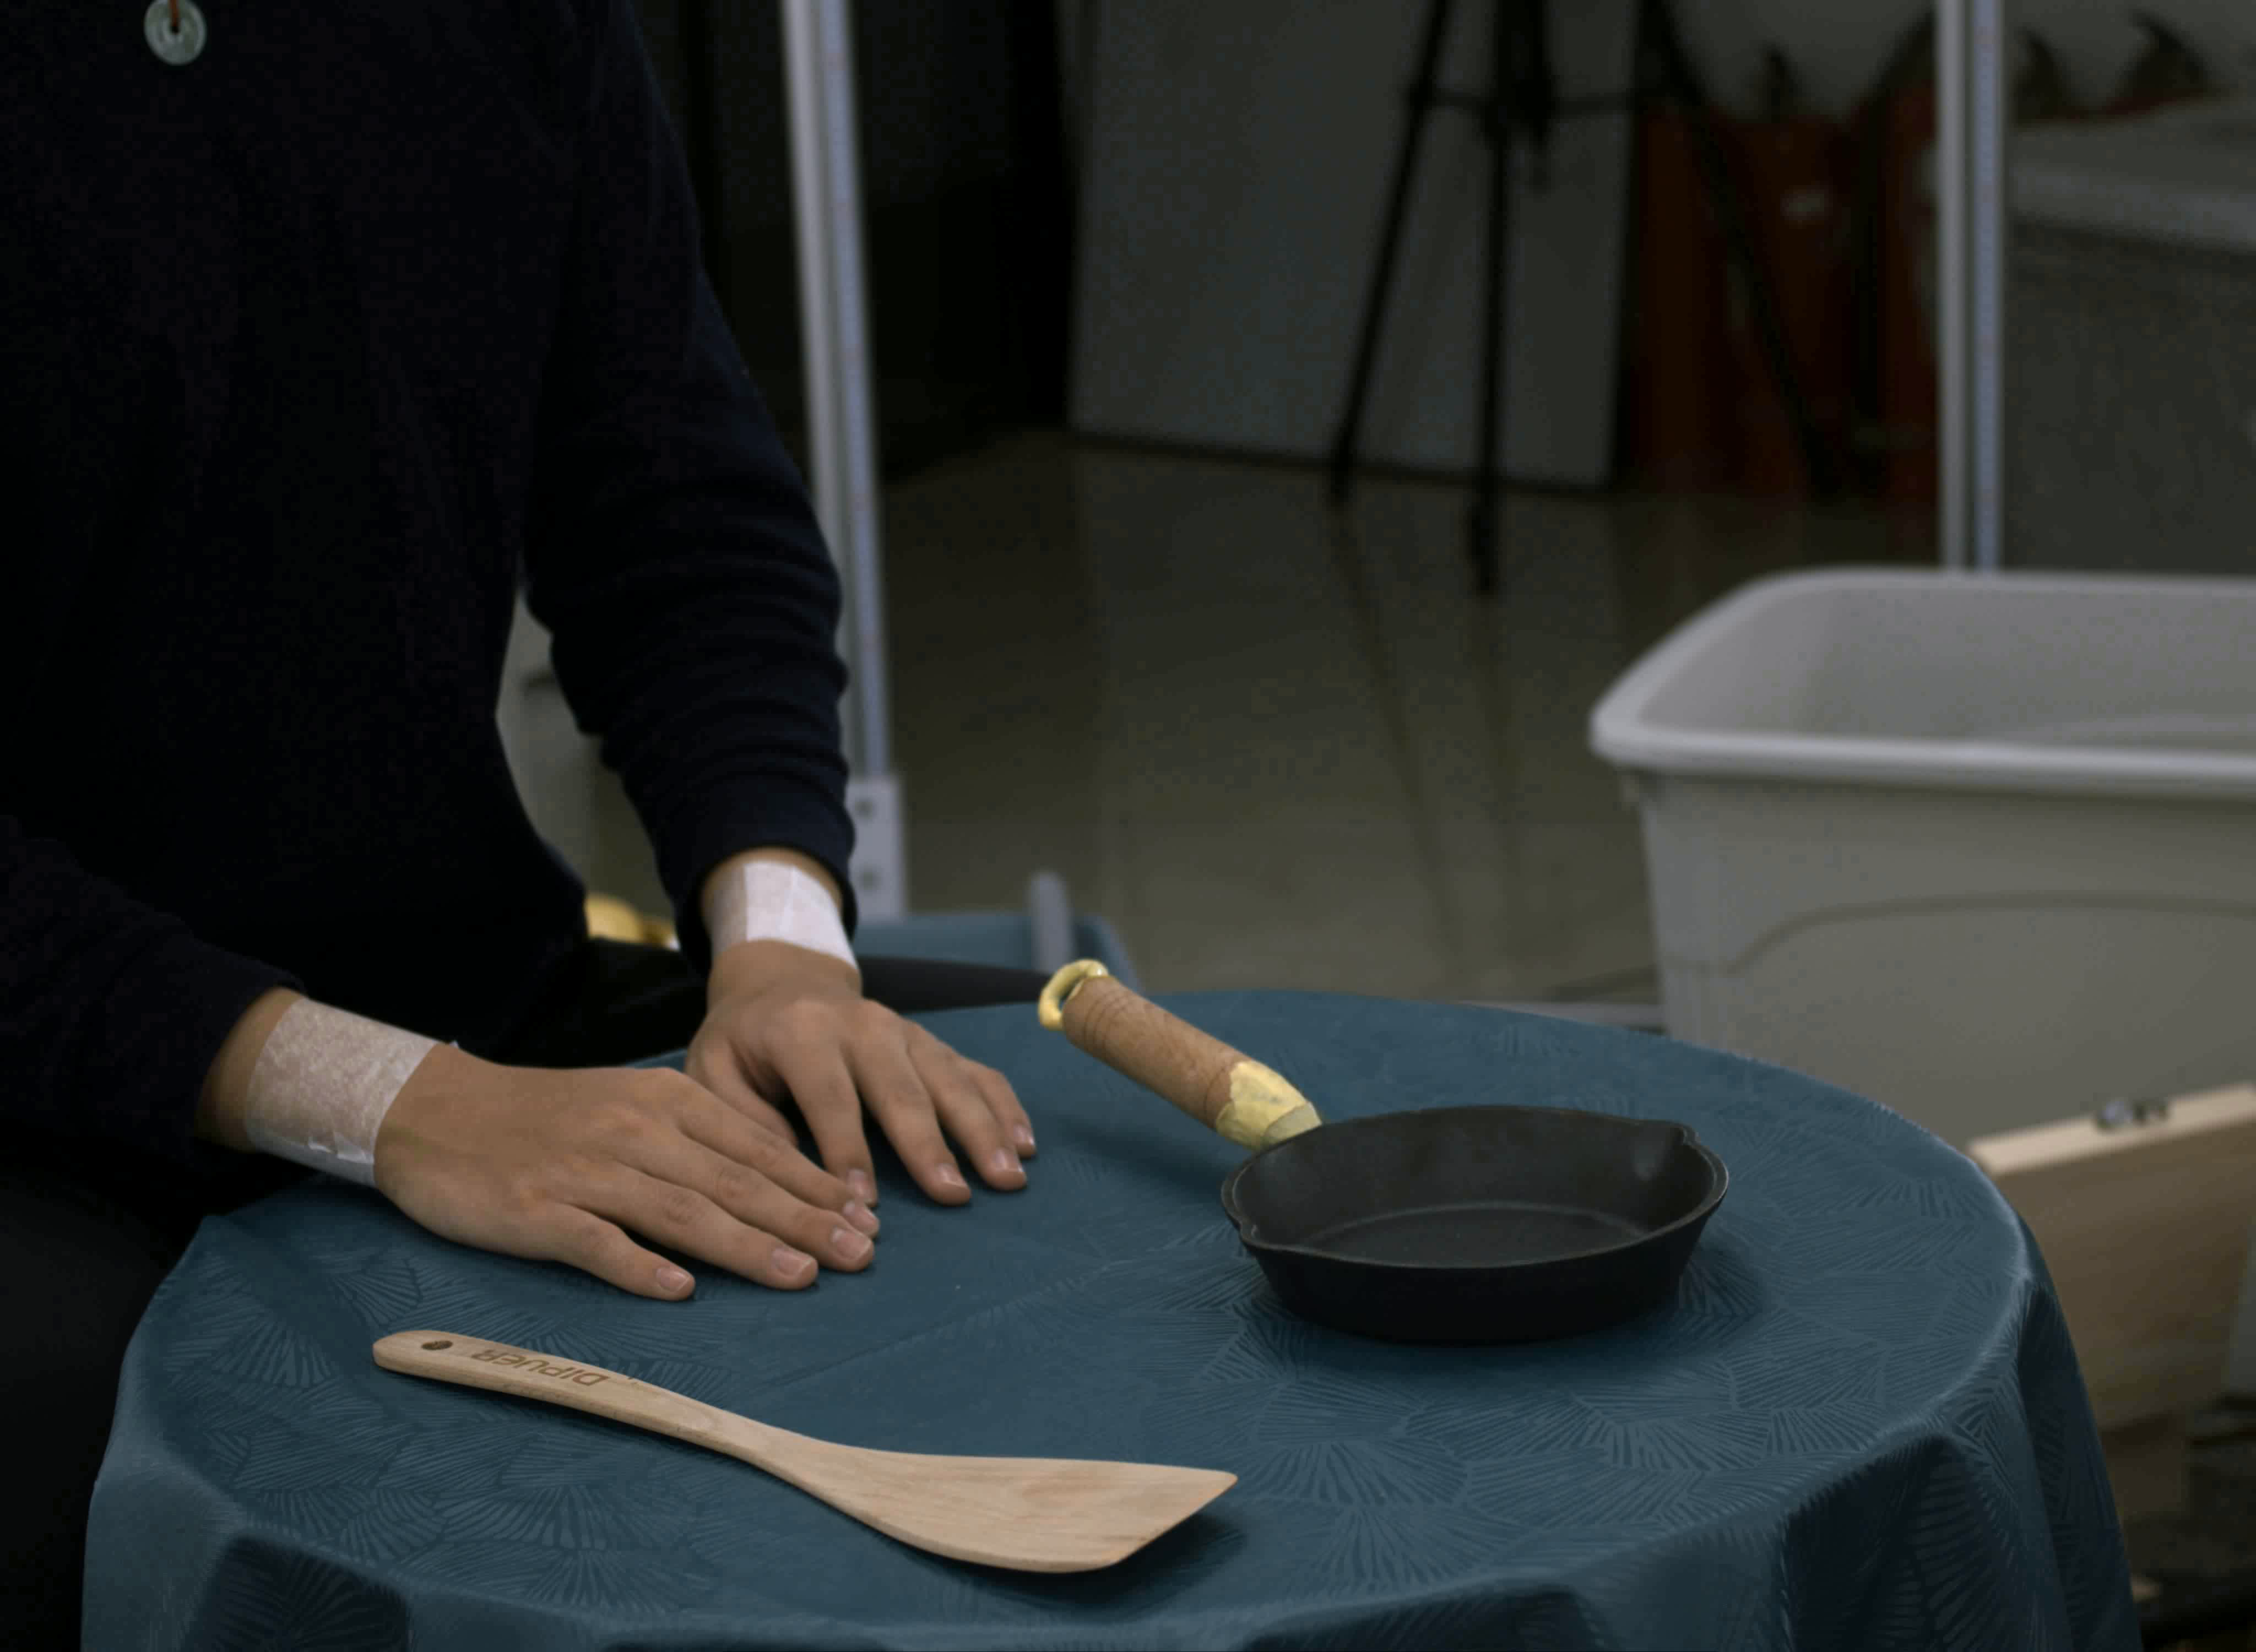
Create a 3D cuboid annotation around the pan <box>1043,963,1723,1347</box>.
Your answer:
[{"bbox_3d":[0.063,0.101,1.729,0.165,0.050,0.327,-12,17,-28],"label":"pan"}]

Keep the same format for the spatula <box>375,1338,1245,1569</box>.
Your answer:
[{"bbox_3d":[-0.102,0.174,1.551,0.330,0.017,0.078,8,18,41],"label":"spatula"}]
